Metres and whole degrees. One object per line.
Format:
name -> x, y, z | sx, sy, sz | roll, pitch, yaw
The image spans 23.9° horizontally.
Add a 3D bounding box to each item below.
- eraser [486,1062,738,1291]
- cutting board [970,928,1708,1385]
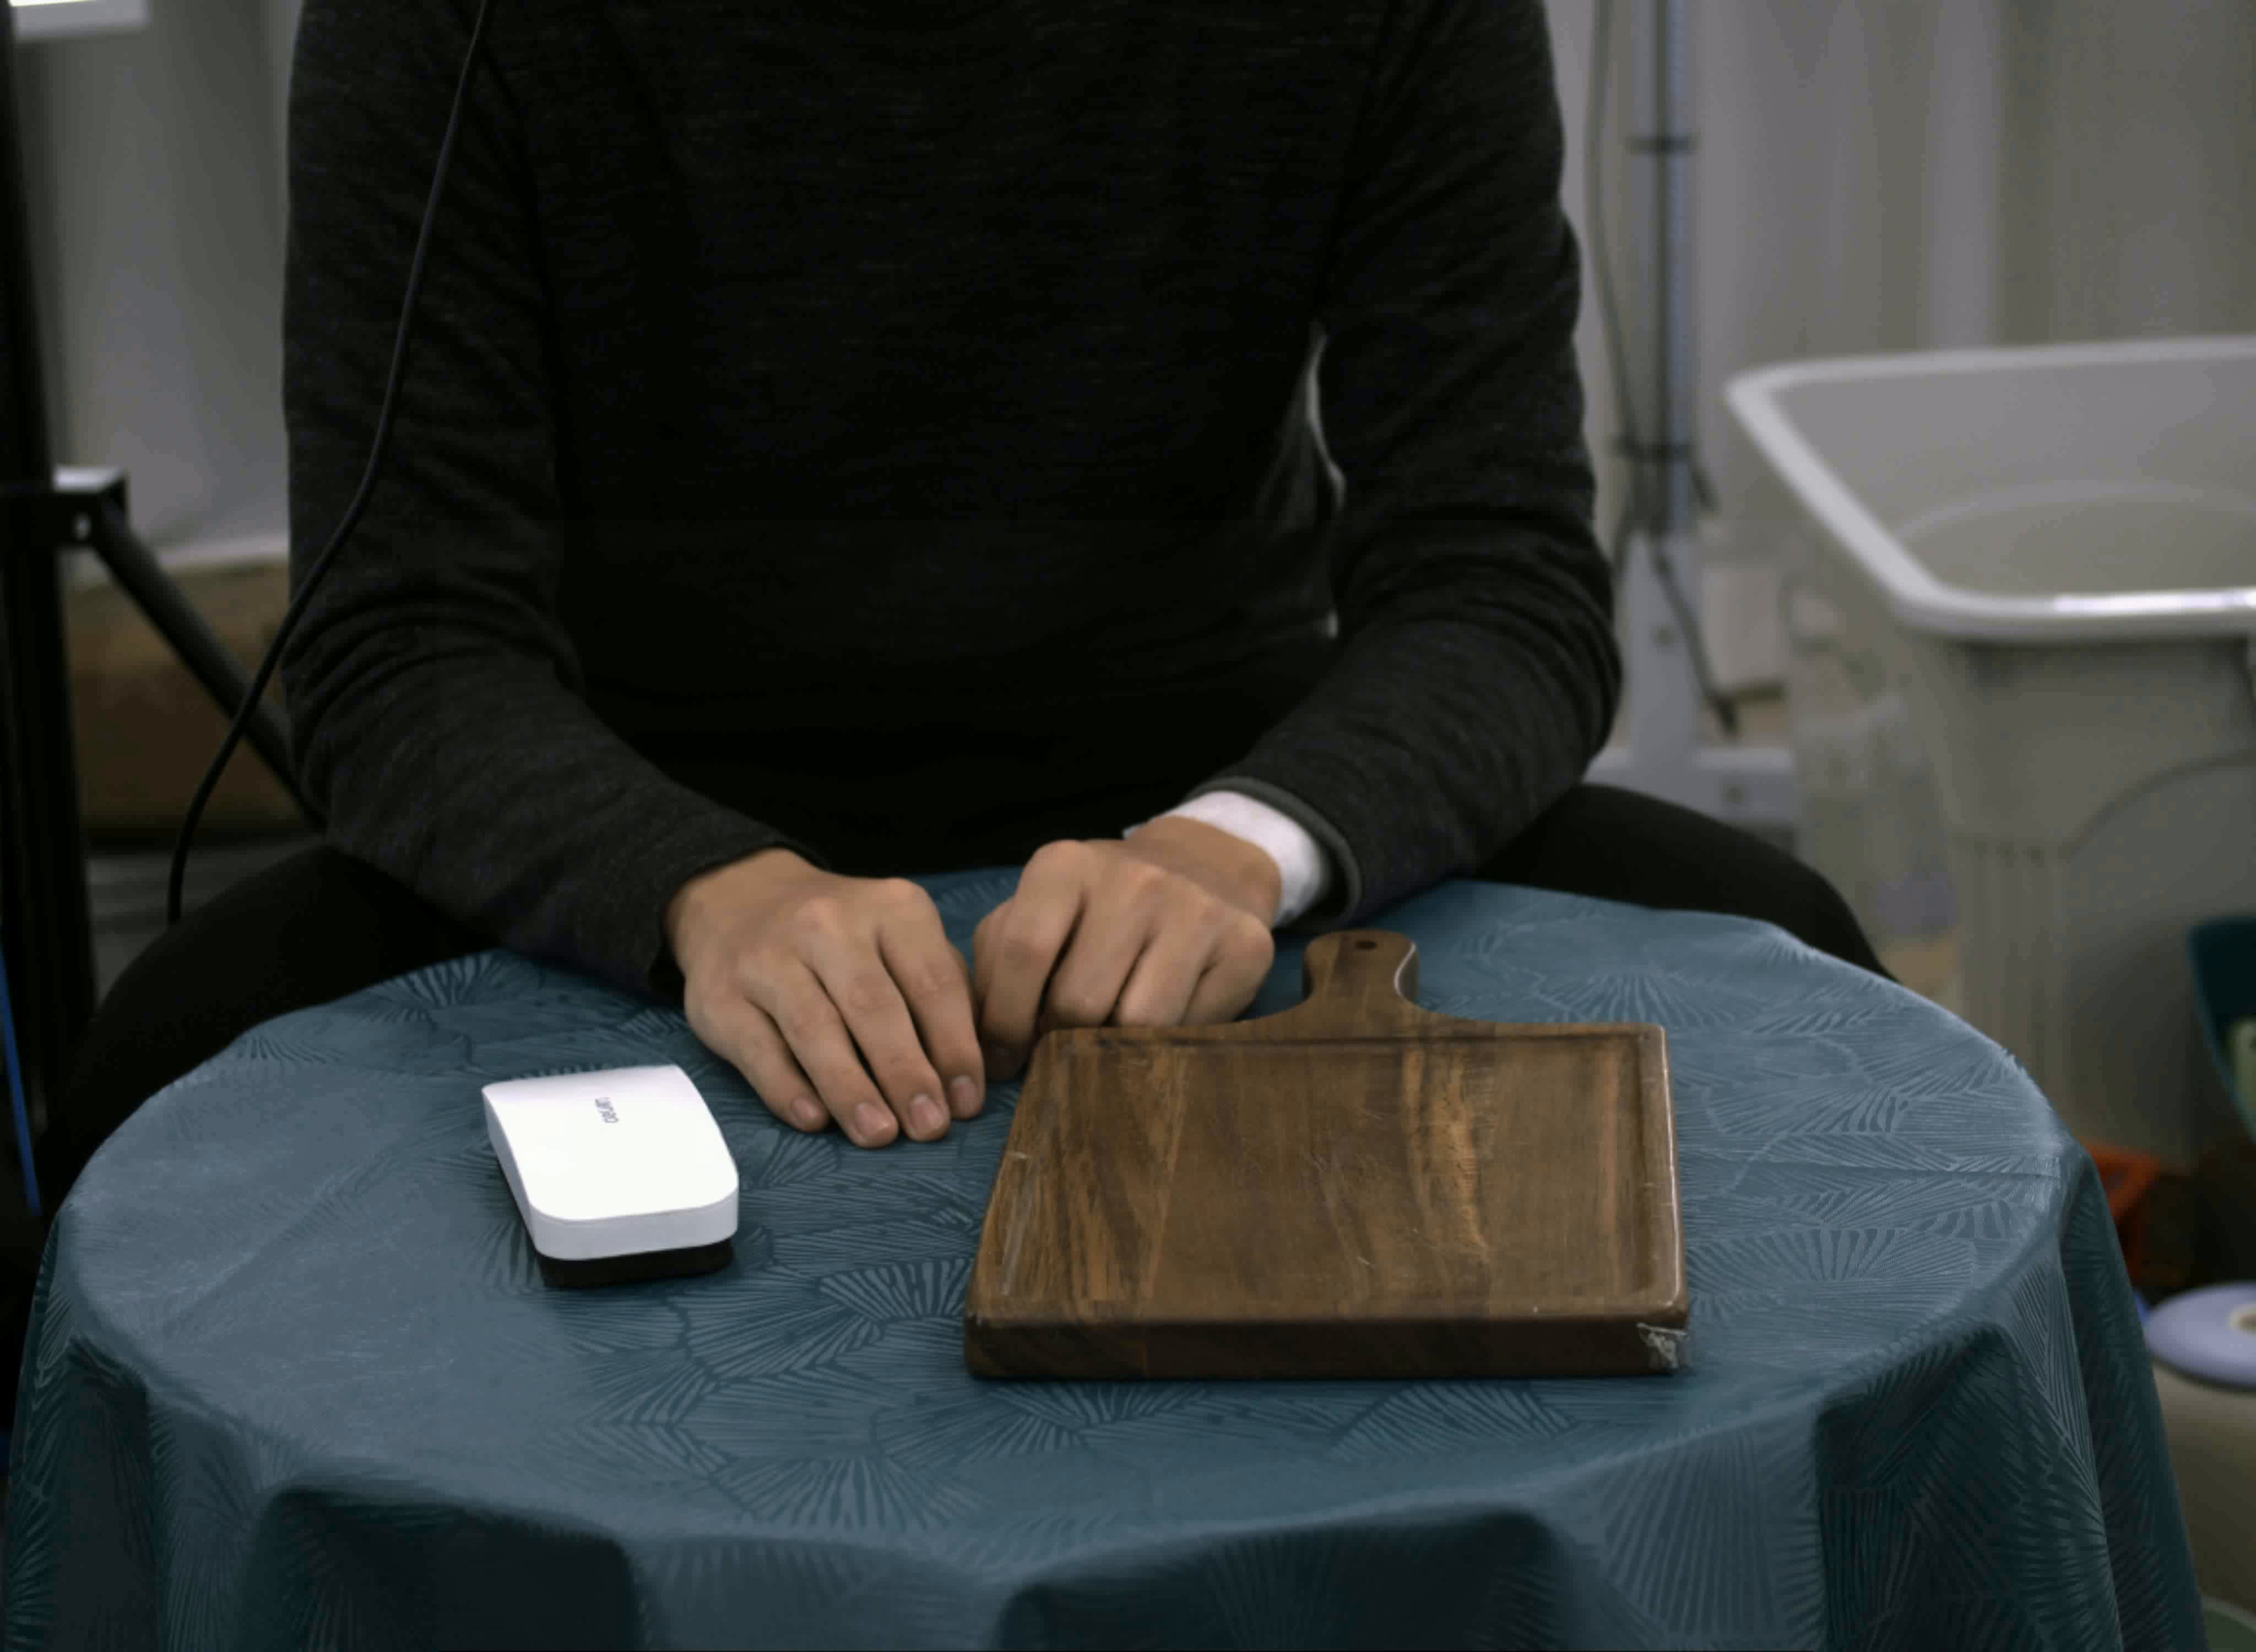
eraser -> -0.150, 0.098, 1.560 | 0.062, 0.034, 0.133 | -7, 17, -11
cutting board -> 0.064, 0.091, 1.568 | 0.201, 0.023, 0.352 | -1, 16, 5
